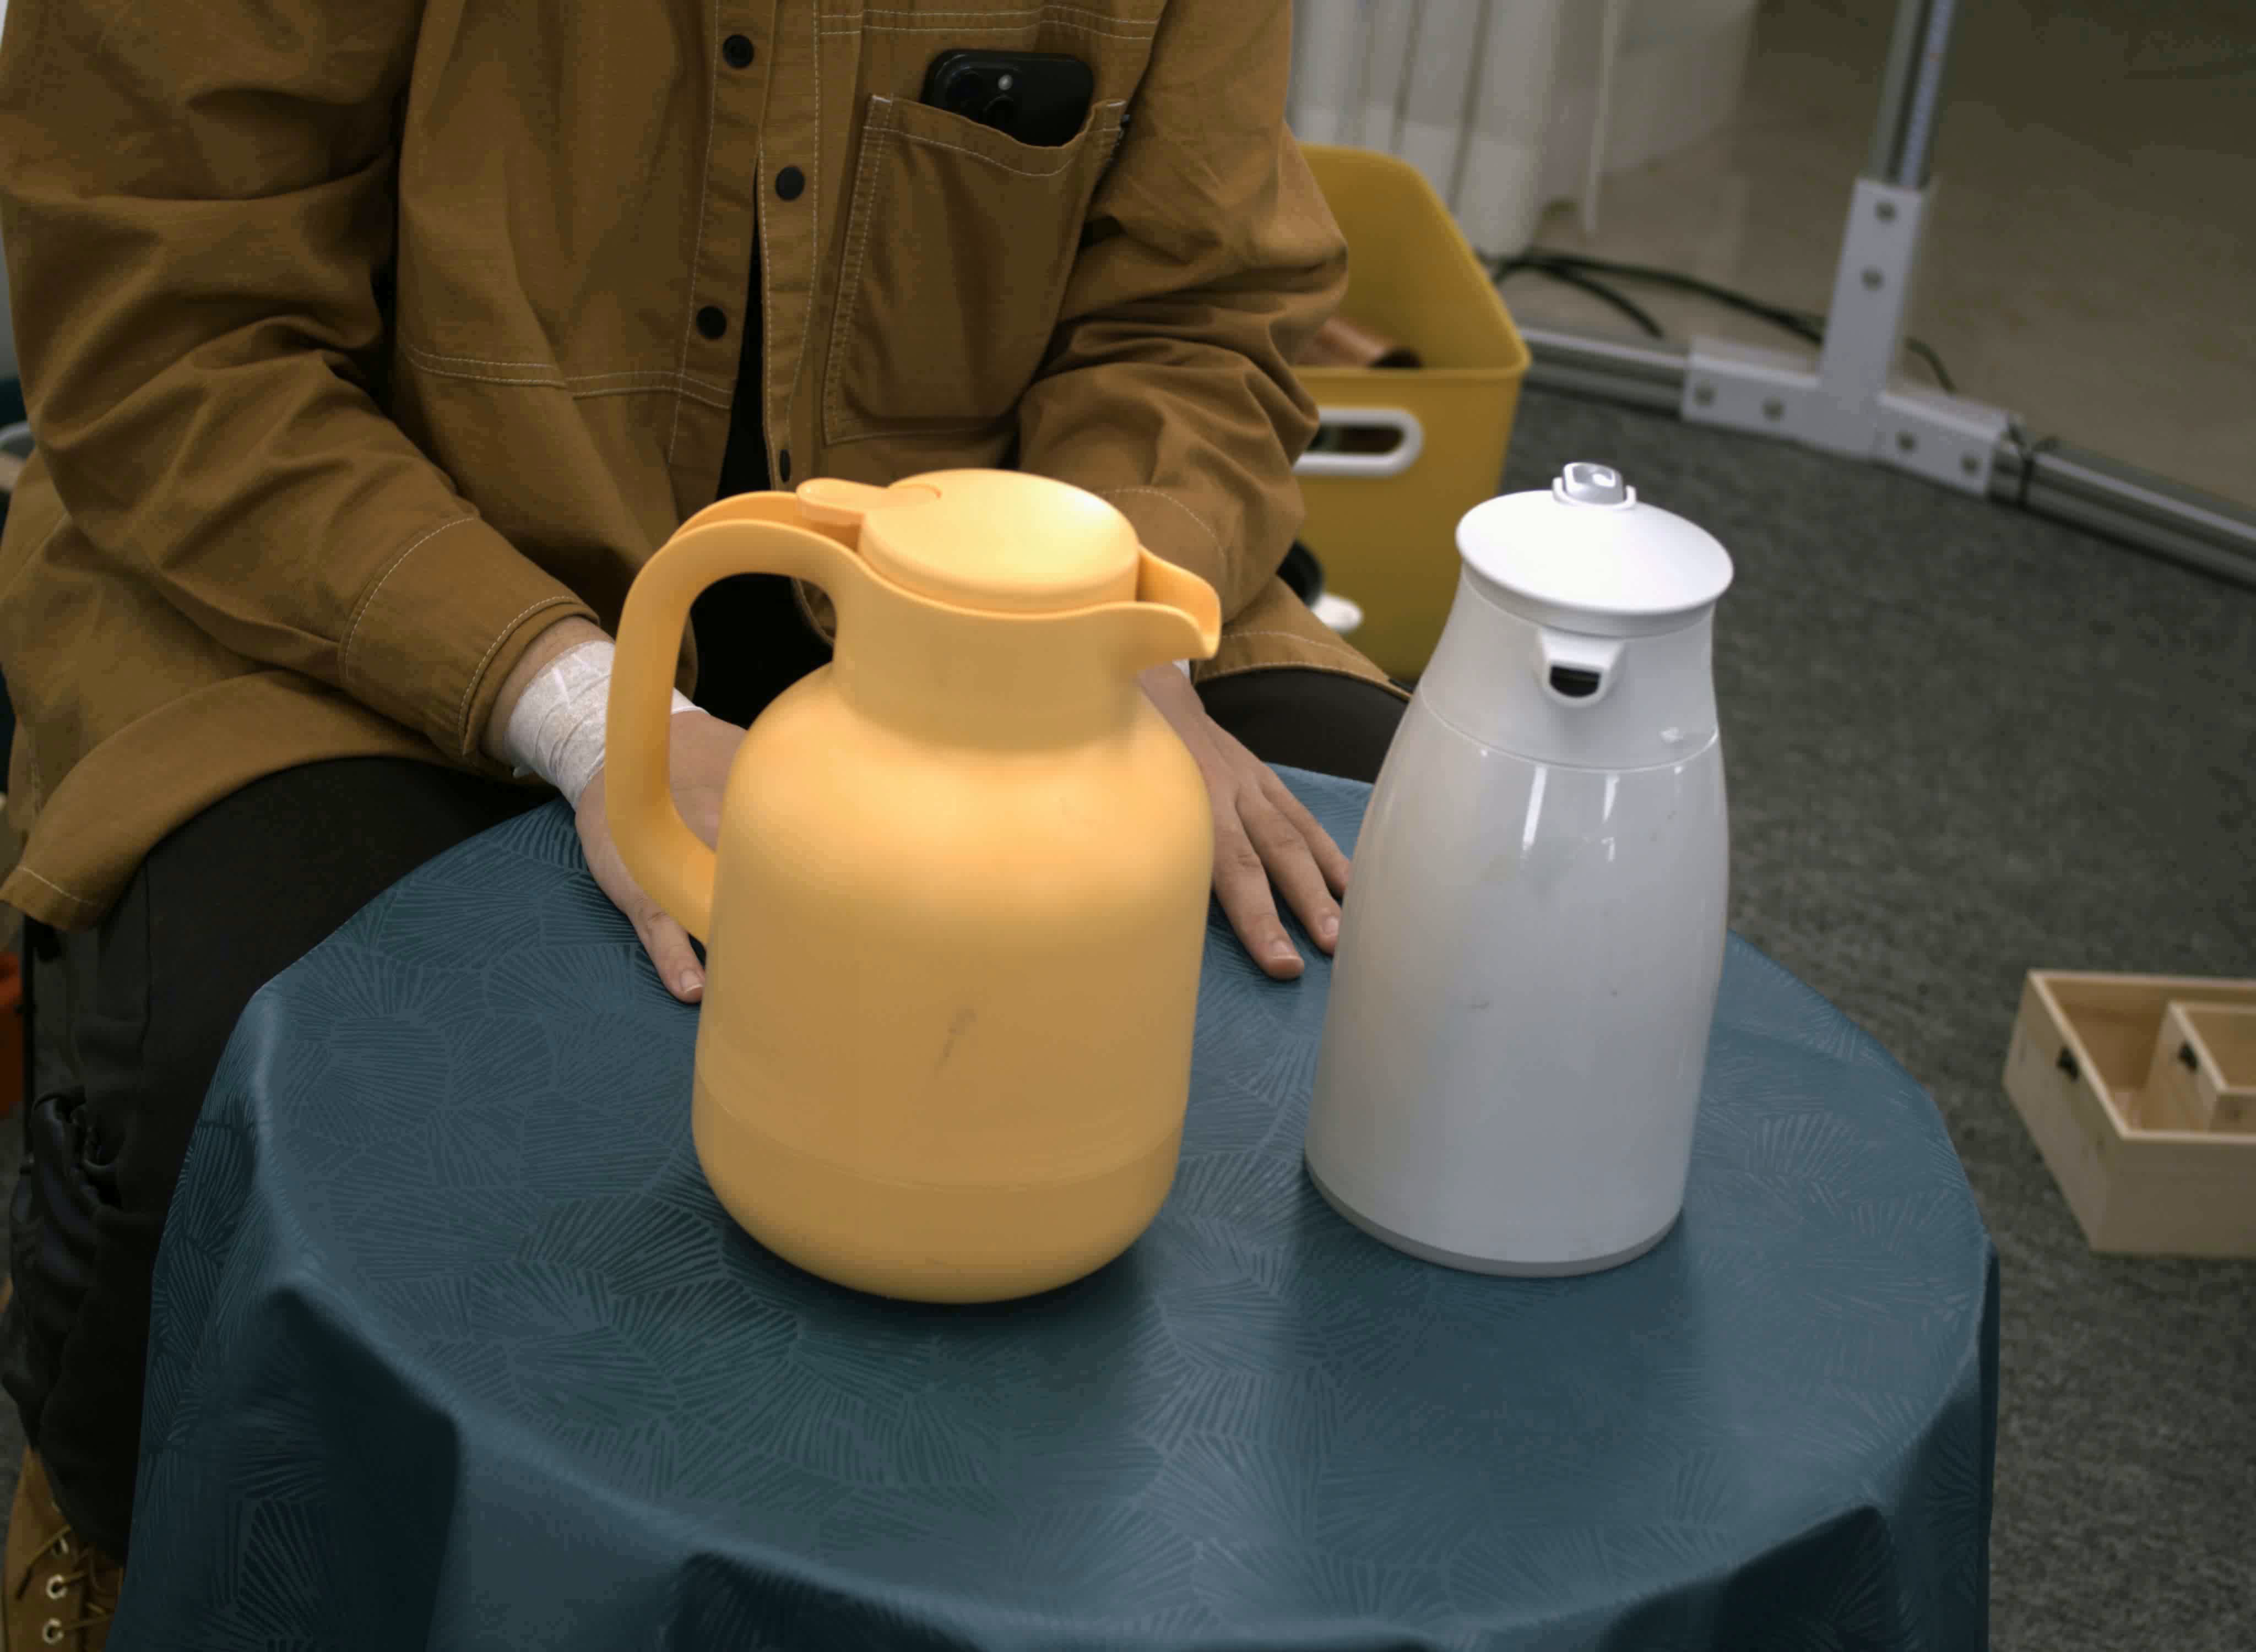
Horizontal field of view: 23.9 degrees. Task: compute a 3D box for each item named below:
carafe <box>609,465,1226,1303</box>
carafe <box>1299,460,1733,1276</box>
[{"bbox_3d":[-0.072,0.009,1.729,0.202,0.260,0.163,15,25,13],"label":"carafe"},{"bbox_3d":[0.139,0.003,1.800,0.132,0.248,0.168,9,26,3],"label":"carafe"}]
